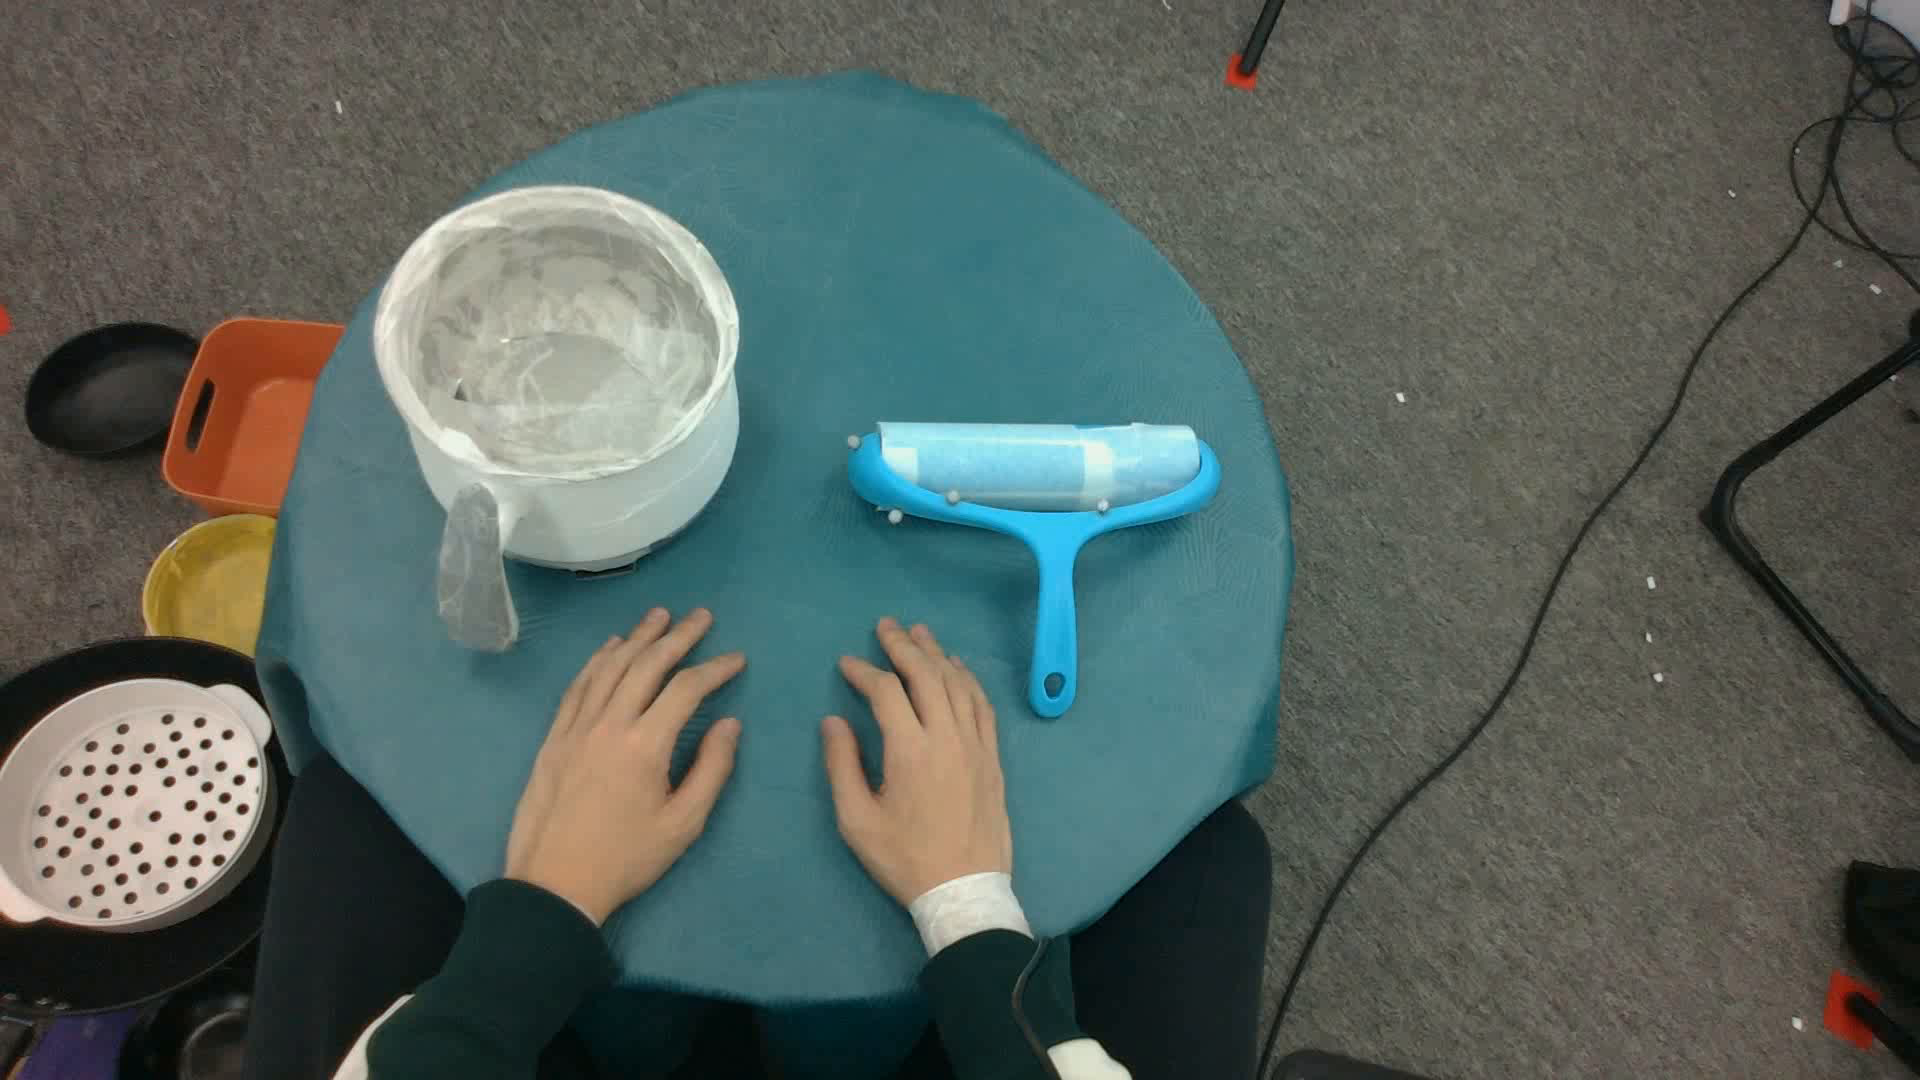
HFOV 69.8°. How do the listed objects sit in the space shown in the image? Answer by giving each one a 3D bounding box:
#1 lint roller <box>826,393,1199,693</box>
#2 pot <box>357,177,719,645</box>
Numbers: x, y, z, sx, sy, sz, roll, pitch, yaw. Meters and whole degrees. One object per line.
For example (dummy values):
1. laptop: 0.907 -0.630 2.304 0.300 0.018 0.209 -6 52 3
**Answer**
1. lint roller: 0.044 -0.005 0.811 0.229 0.067 0.181 -5 66 -14
2. pot: -0.228 -0.063 0.743 0.179 0.136 0.234 15 63 -2
